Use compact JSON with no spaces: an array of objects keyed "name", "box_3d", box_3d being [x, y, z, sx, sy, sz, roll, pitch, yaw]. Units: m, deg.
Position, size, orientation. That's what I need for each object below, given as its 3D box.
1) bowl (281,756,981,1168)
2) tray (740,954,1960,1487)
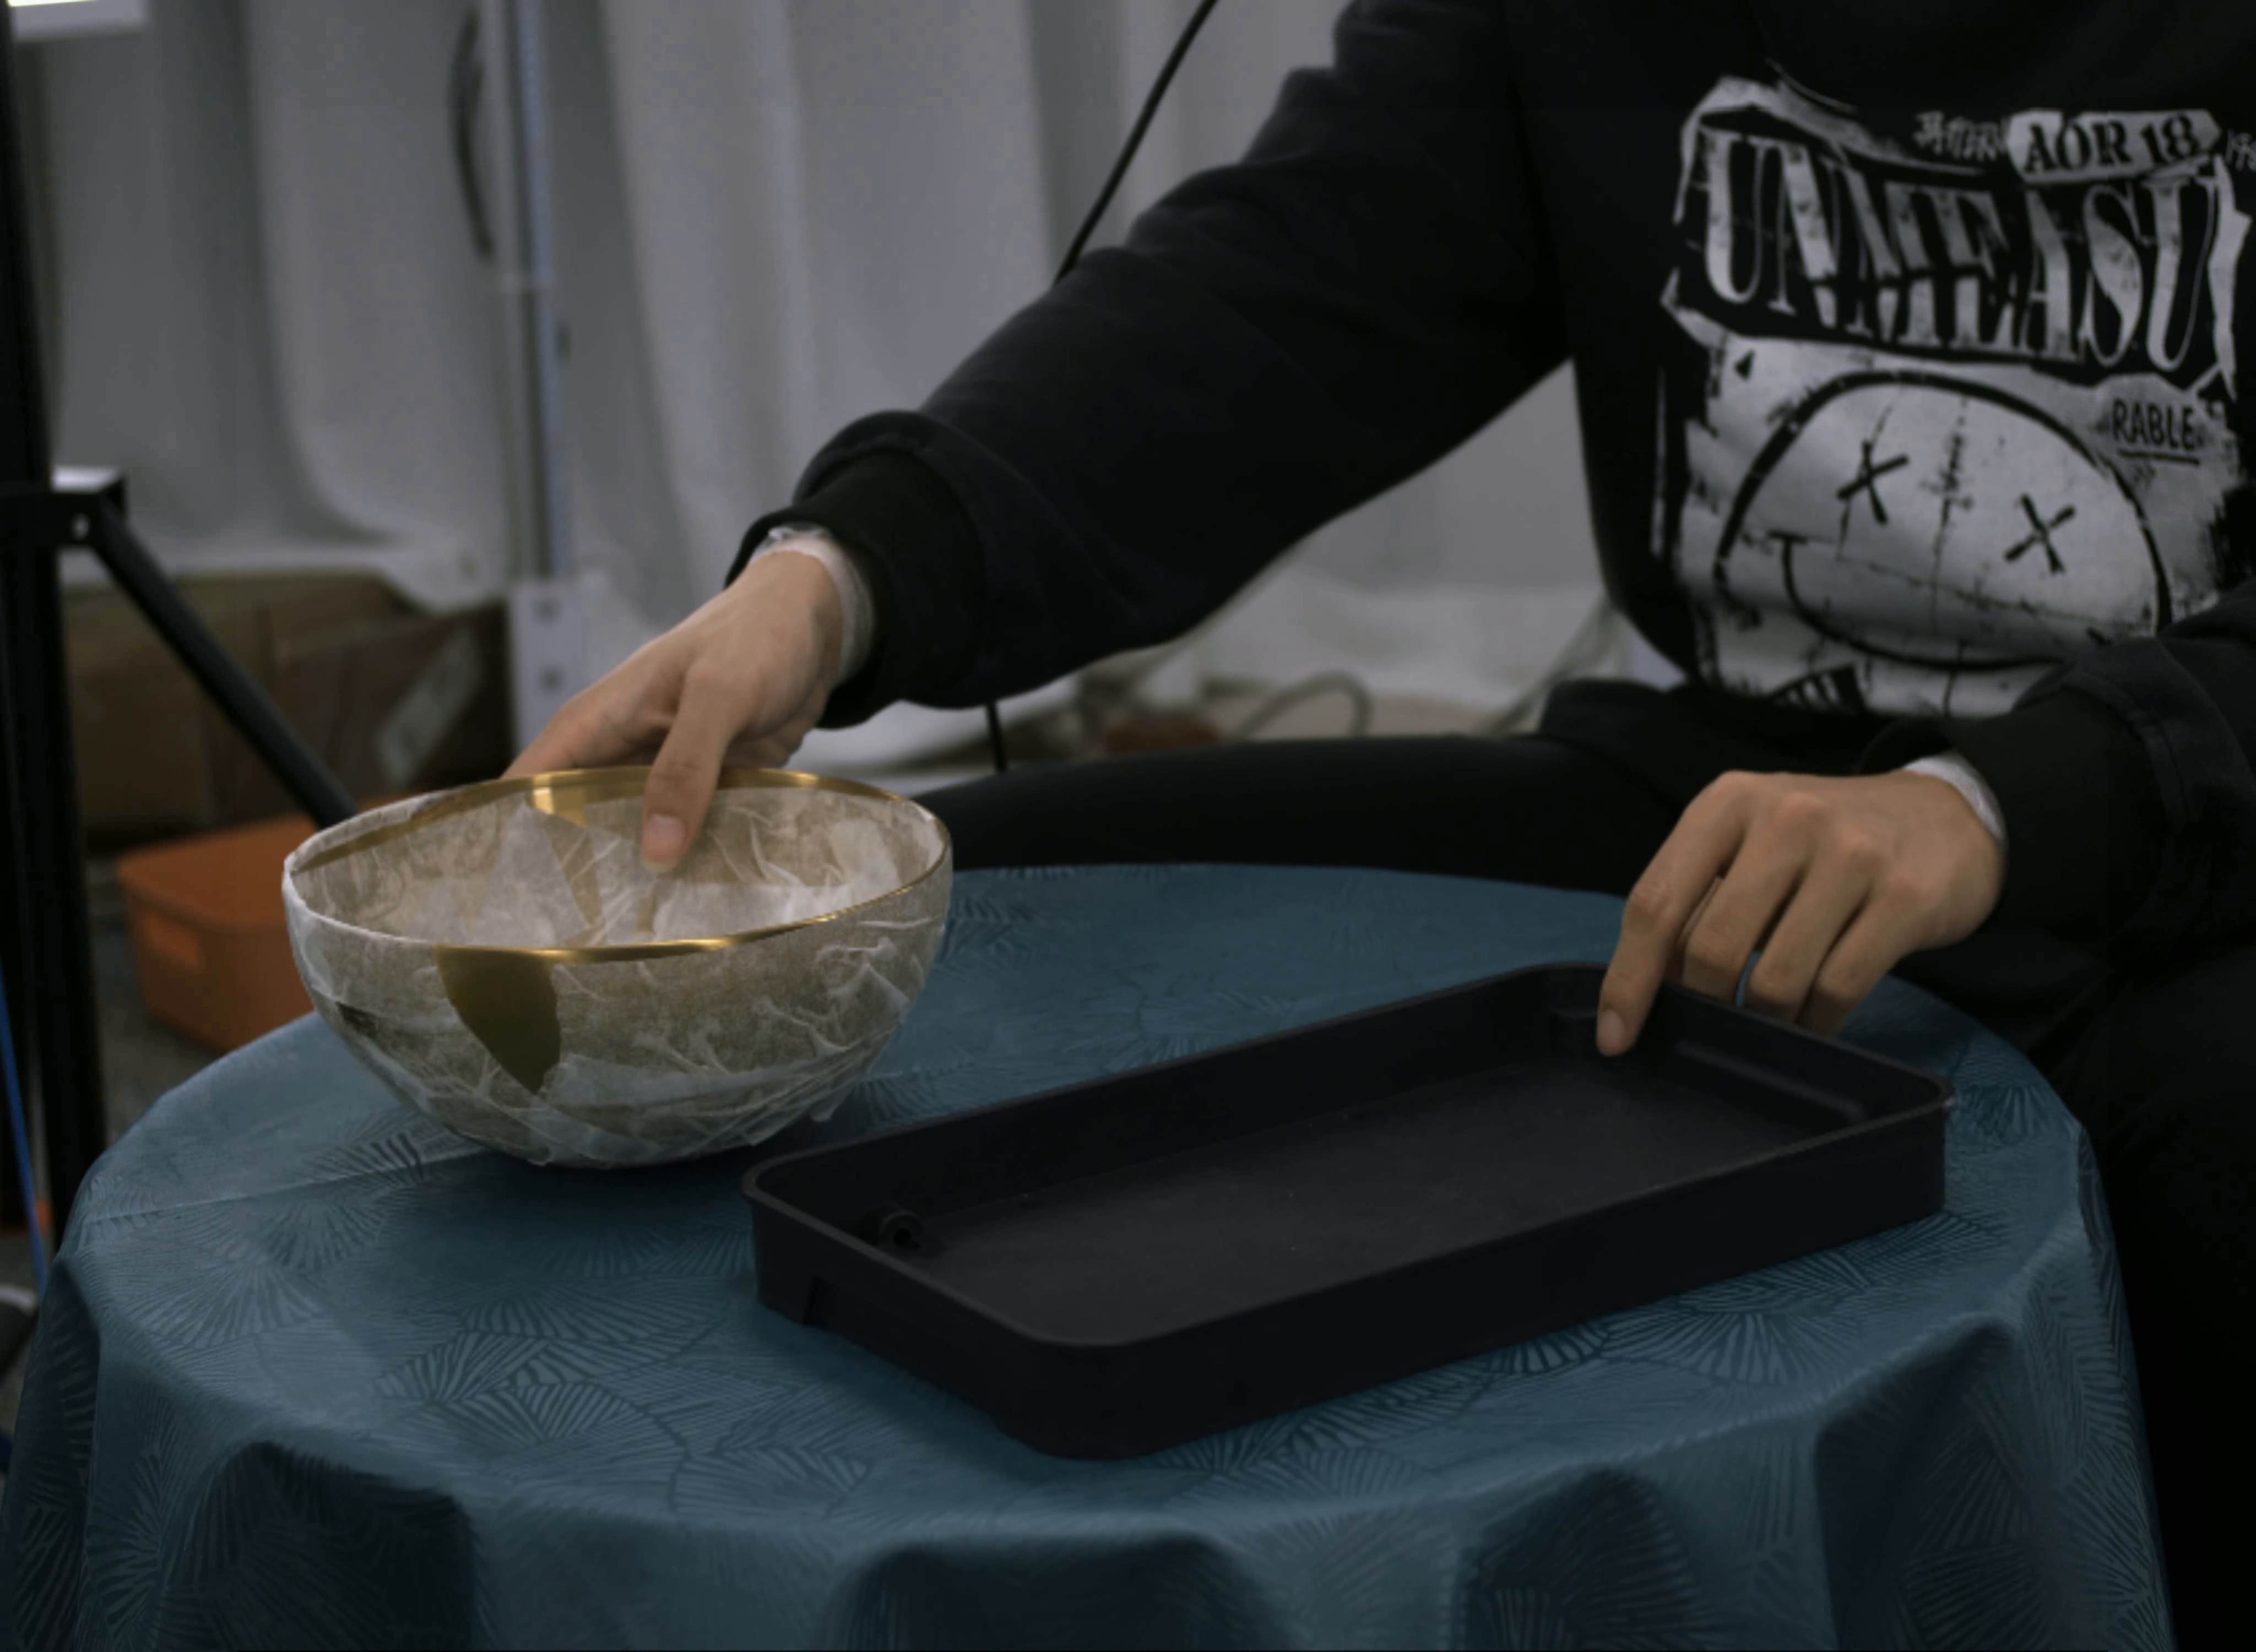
[{"name":"bowl","box_3d":[-0.148,0.050,1.618,0.213,0.094,0.216,-3,15,-1]},{"name":"tray","box_3d":[0.065,0.105,1.501,0.311,0.037,0.188,-14,20,-29]}]
